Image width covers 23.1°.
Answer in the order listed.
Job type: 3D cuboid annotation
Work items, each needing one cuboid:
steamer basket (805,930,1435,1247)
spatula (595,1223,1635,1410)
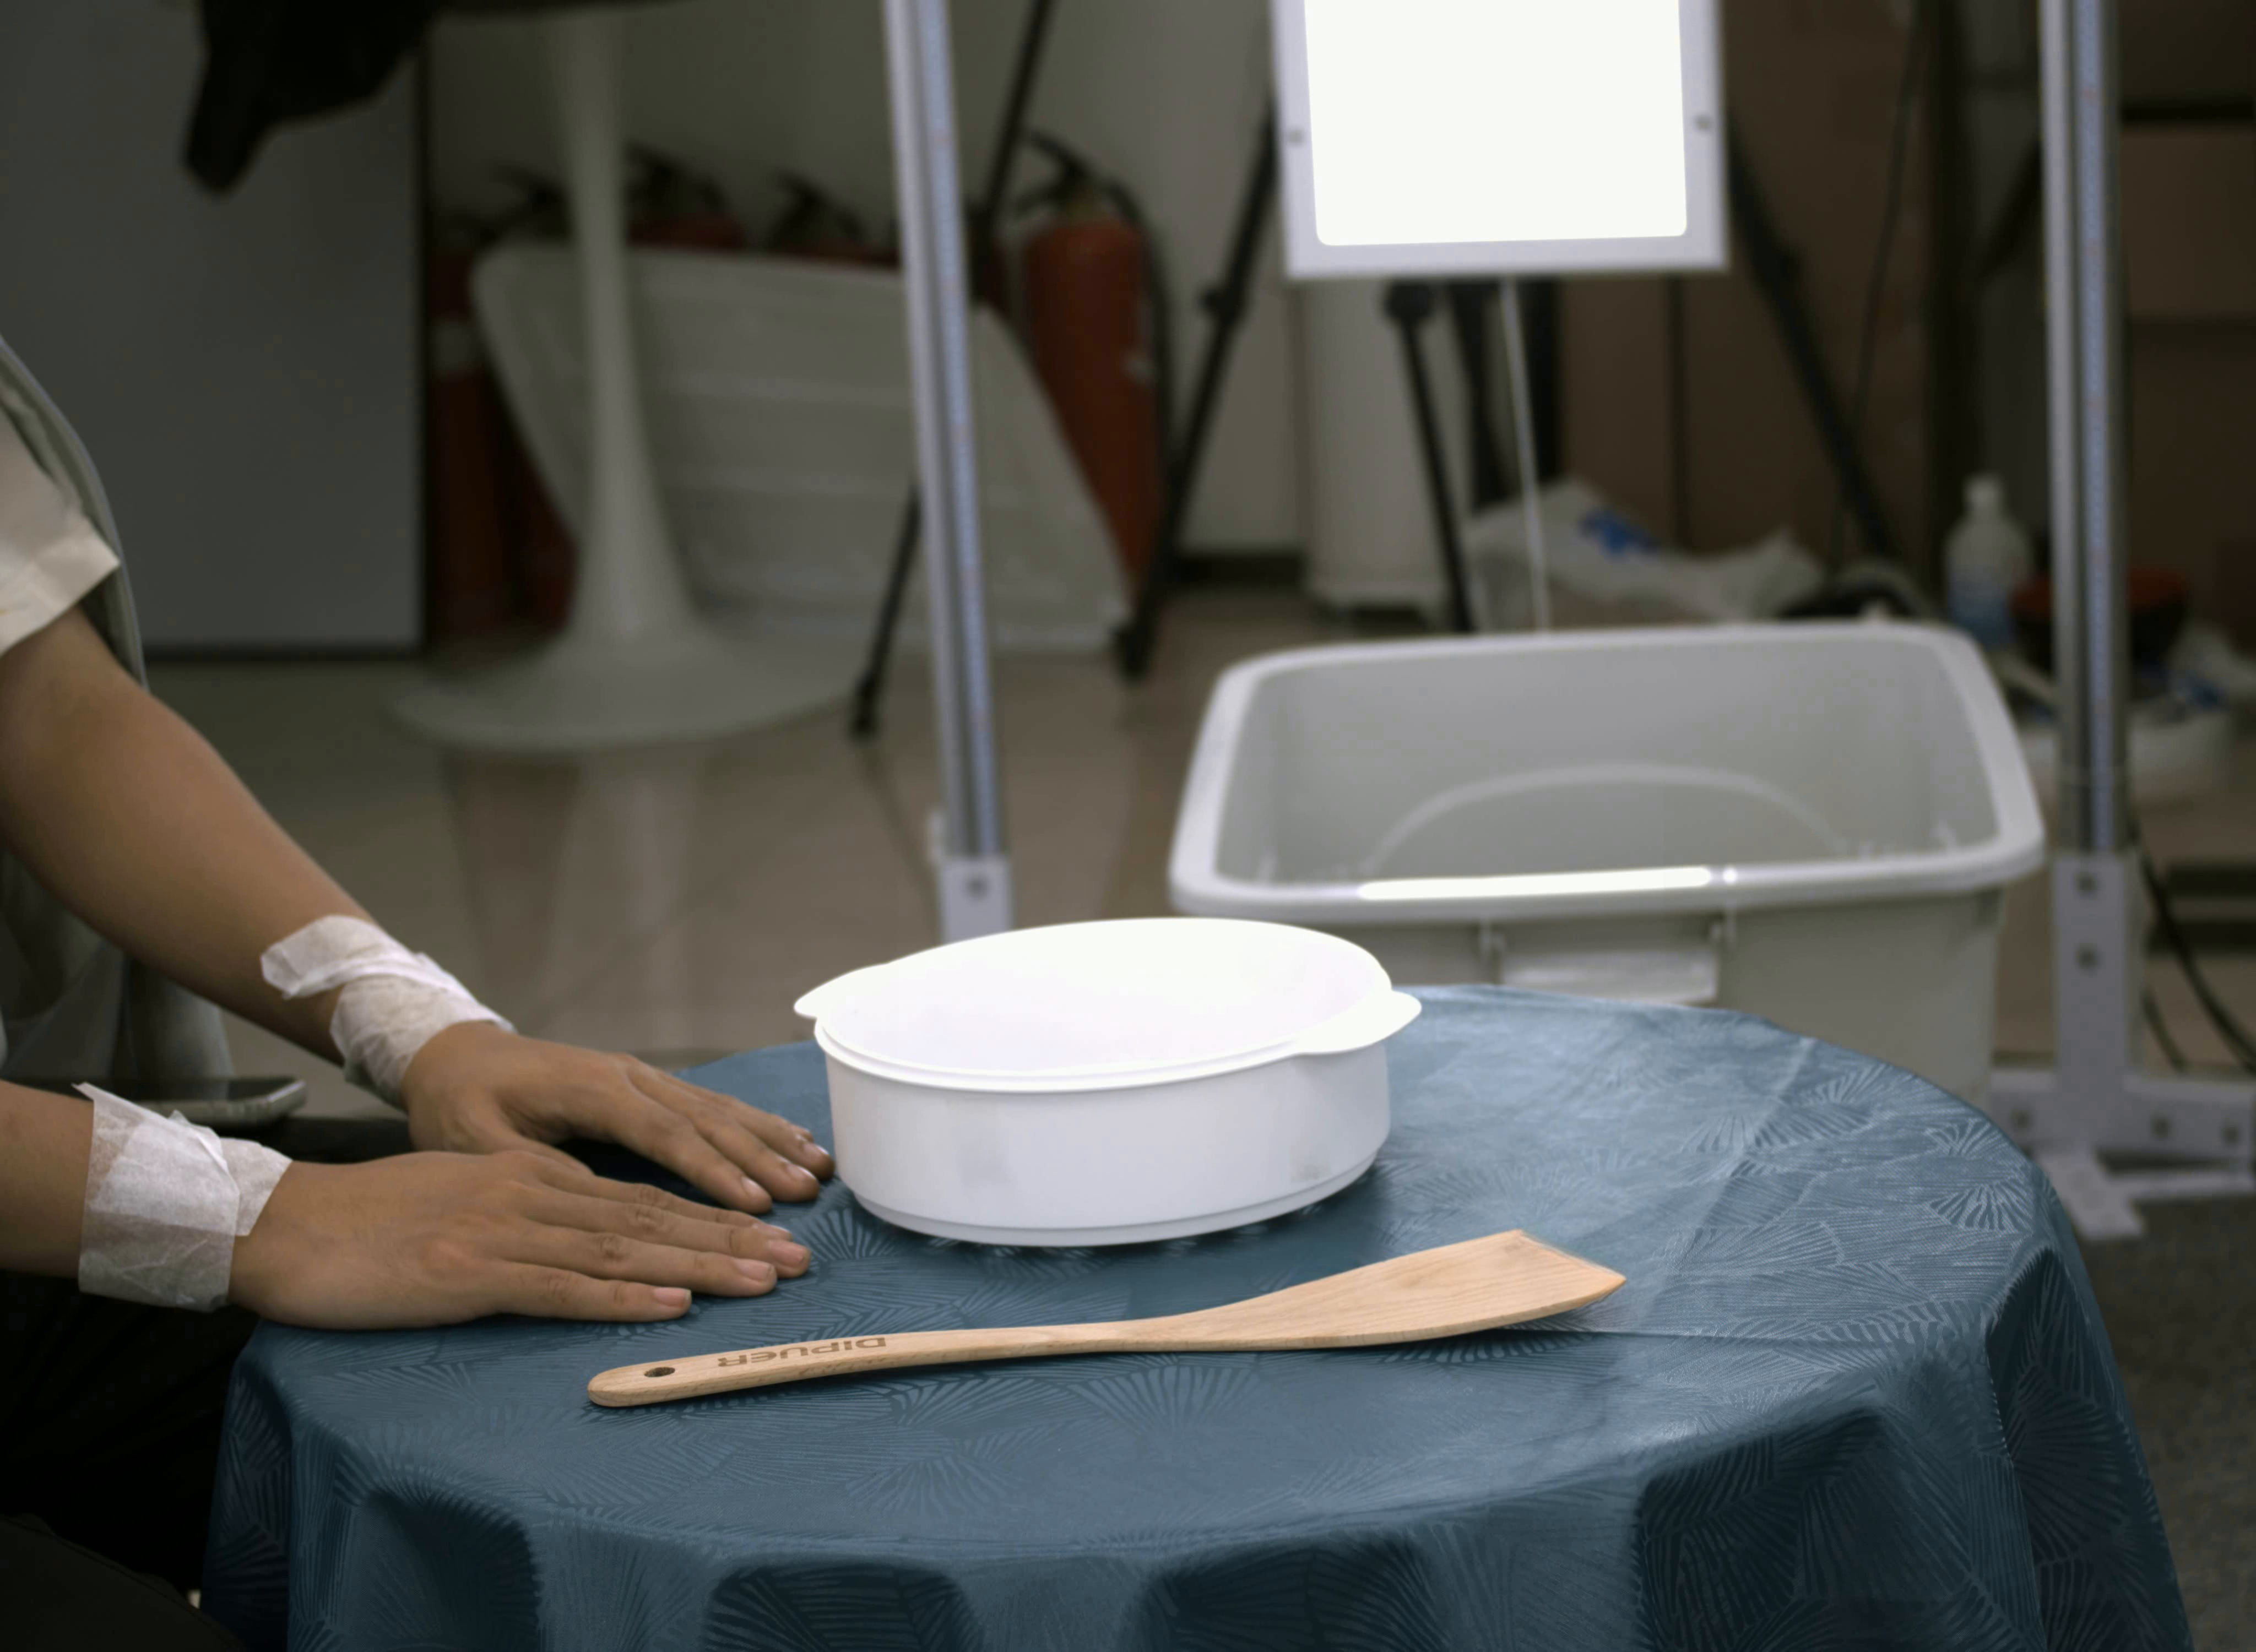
[{"bbox_3d":[-0.002,0.091,1.907,0.235,0.069,0.197,2,14,30],"label":"steamer basket"},{"bbox_3d":[-0.006,0.157,1.738,0.326,0.016,0.080,-6,13,-2],"label":"spatula"}]
